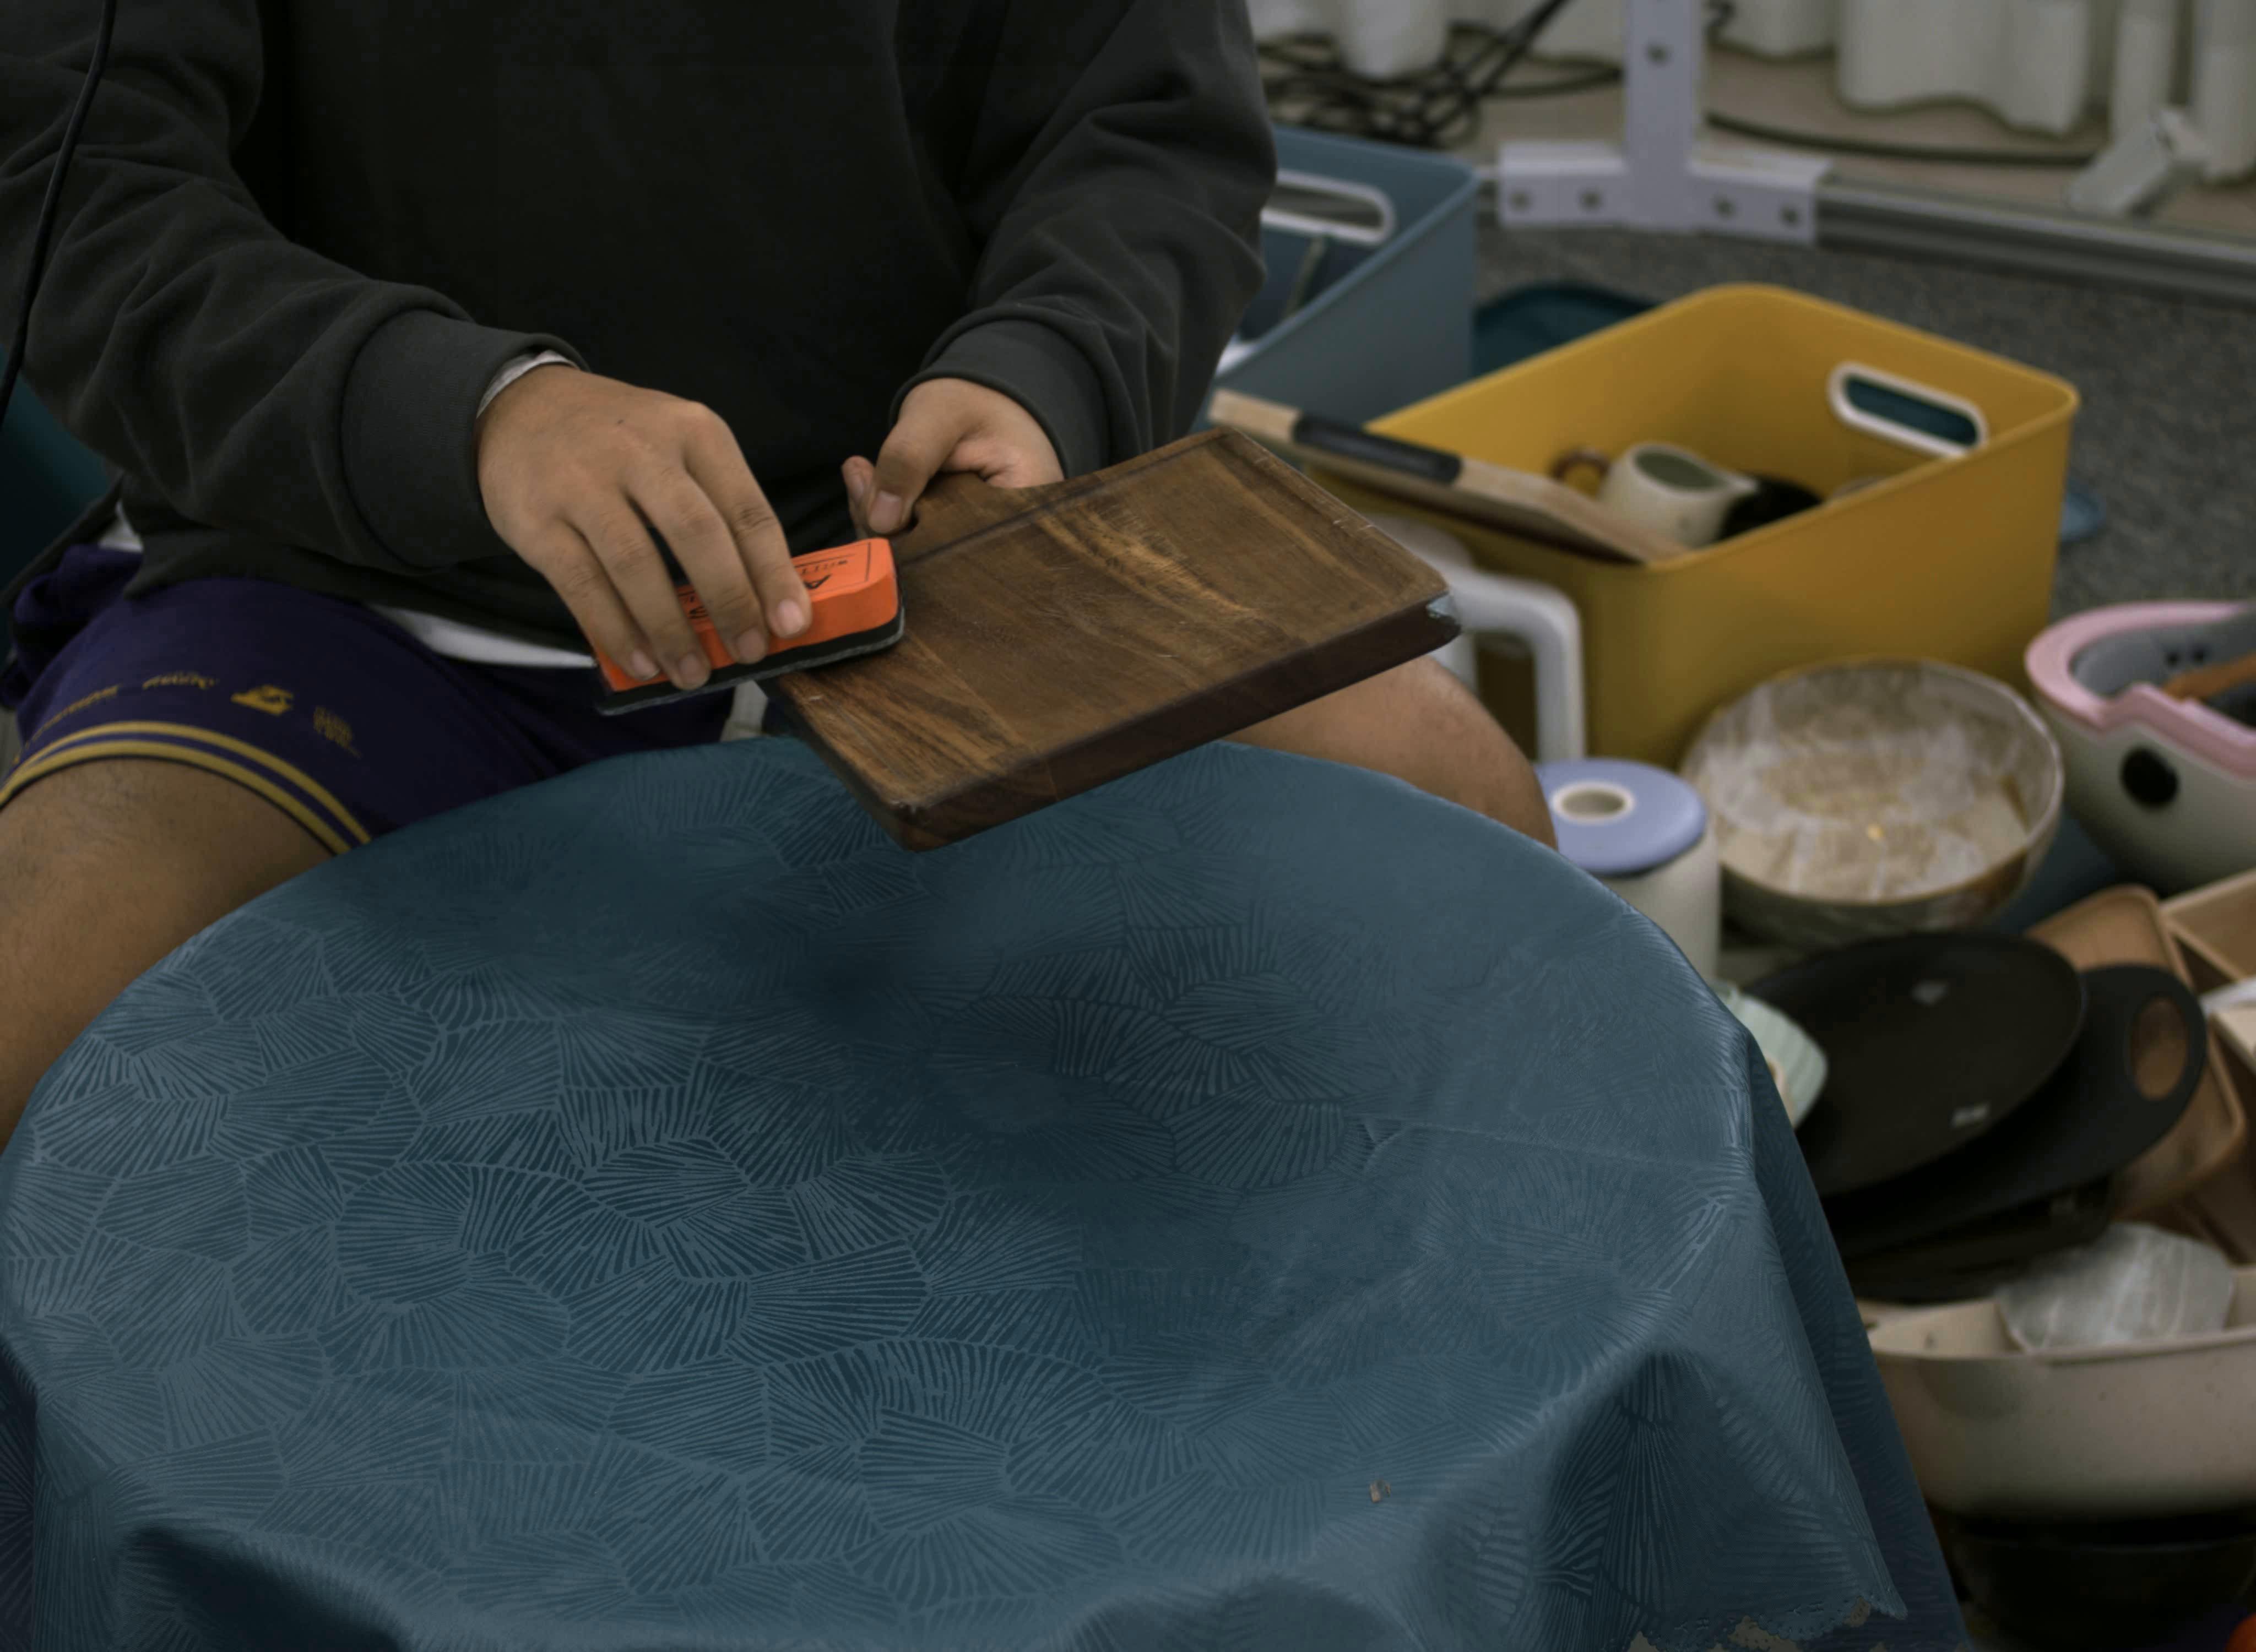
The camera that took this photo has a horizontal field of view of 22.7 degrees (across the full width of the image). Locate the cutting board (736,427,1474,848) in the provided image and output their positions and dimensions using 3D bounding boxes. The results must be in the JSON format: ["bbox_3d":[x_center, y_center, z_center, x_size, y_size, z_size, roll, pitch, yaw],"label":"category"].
[{"bbox_3d":[-0.029,-0.080,1.923,0.201,0.023,0.353,-22,20,-11],"label":"cutting board"}]

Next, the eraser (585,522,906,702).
[{"bbox_3d":[-0.130,-0.073,1.917,0.107,0.023,0.059,-16,18,2],"label":"eraser"}]
